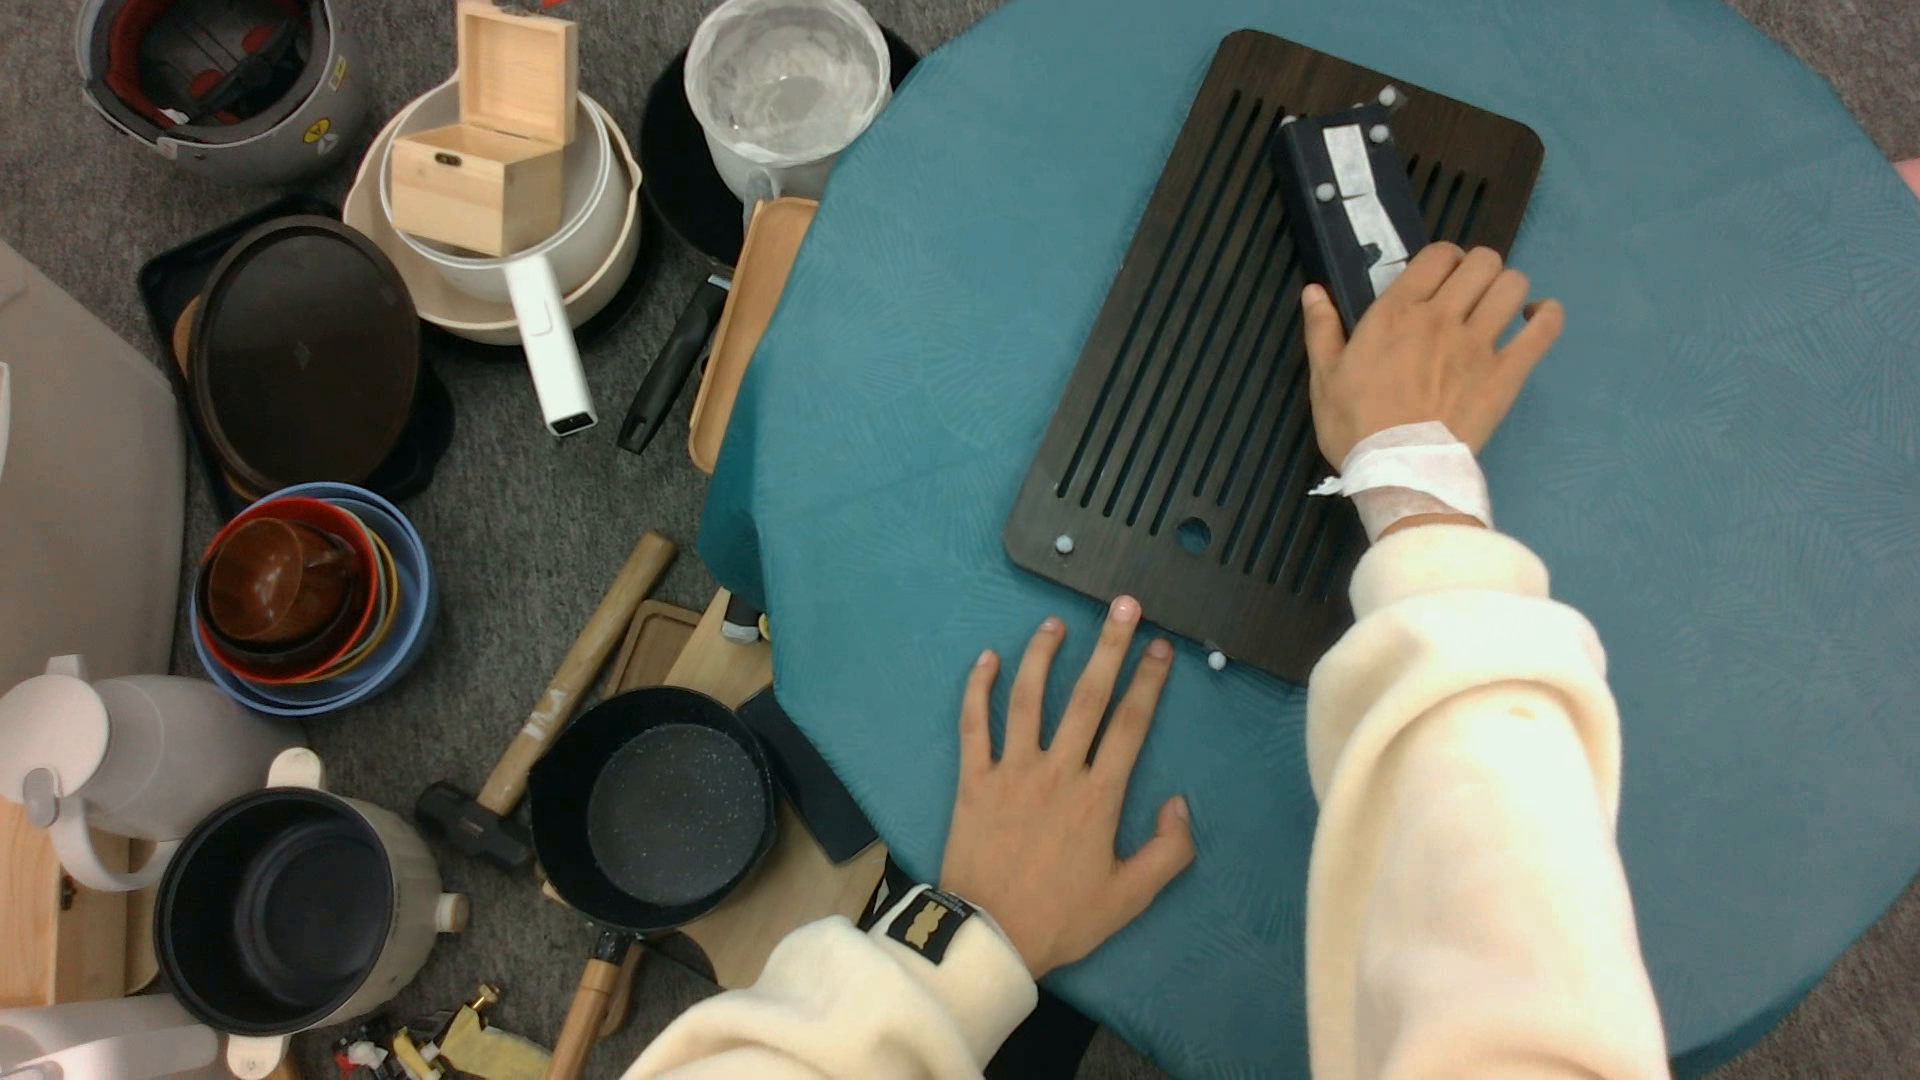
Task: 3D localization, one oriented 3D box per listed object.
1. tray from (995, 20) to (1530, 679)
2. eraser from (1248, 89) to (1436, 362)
[{"bbox_3d":[0.149,-0.100,0.664,0.170,0.018,0.306,22,76,7],"label":"tray"},{"bbox_3d":[0.178,-0.149,0.654,0.053,0.030,0.126,-14,75,1],"label":"eraser"}]
